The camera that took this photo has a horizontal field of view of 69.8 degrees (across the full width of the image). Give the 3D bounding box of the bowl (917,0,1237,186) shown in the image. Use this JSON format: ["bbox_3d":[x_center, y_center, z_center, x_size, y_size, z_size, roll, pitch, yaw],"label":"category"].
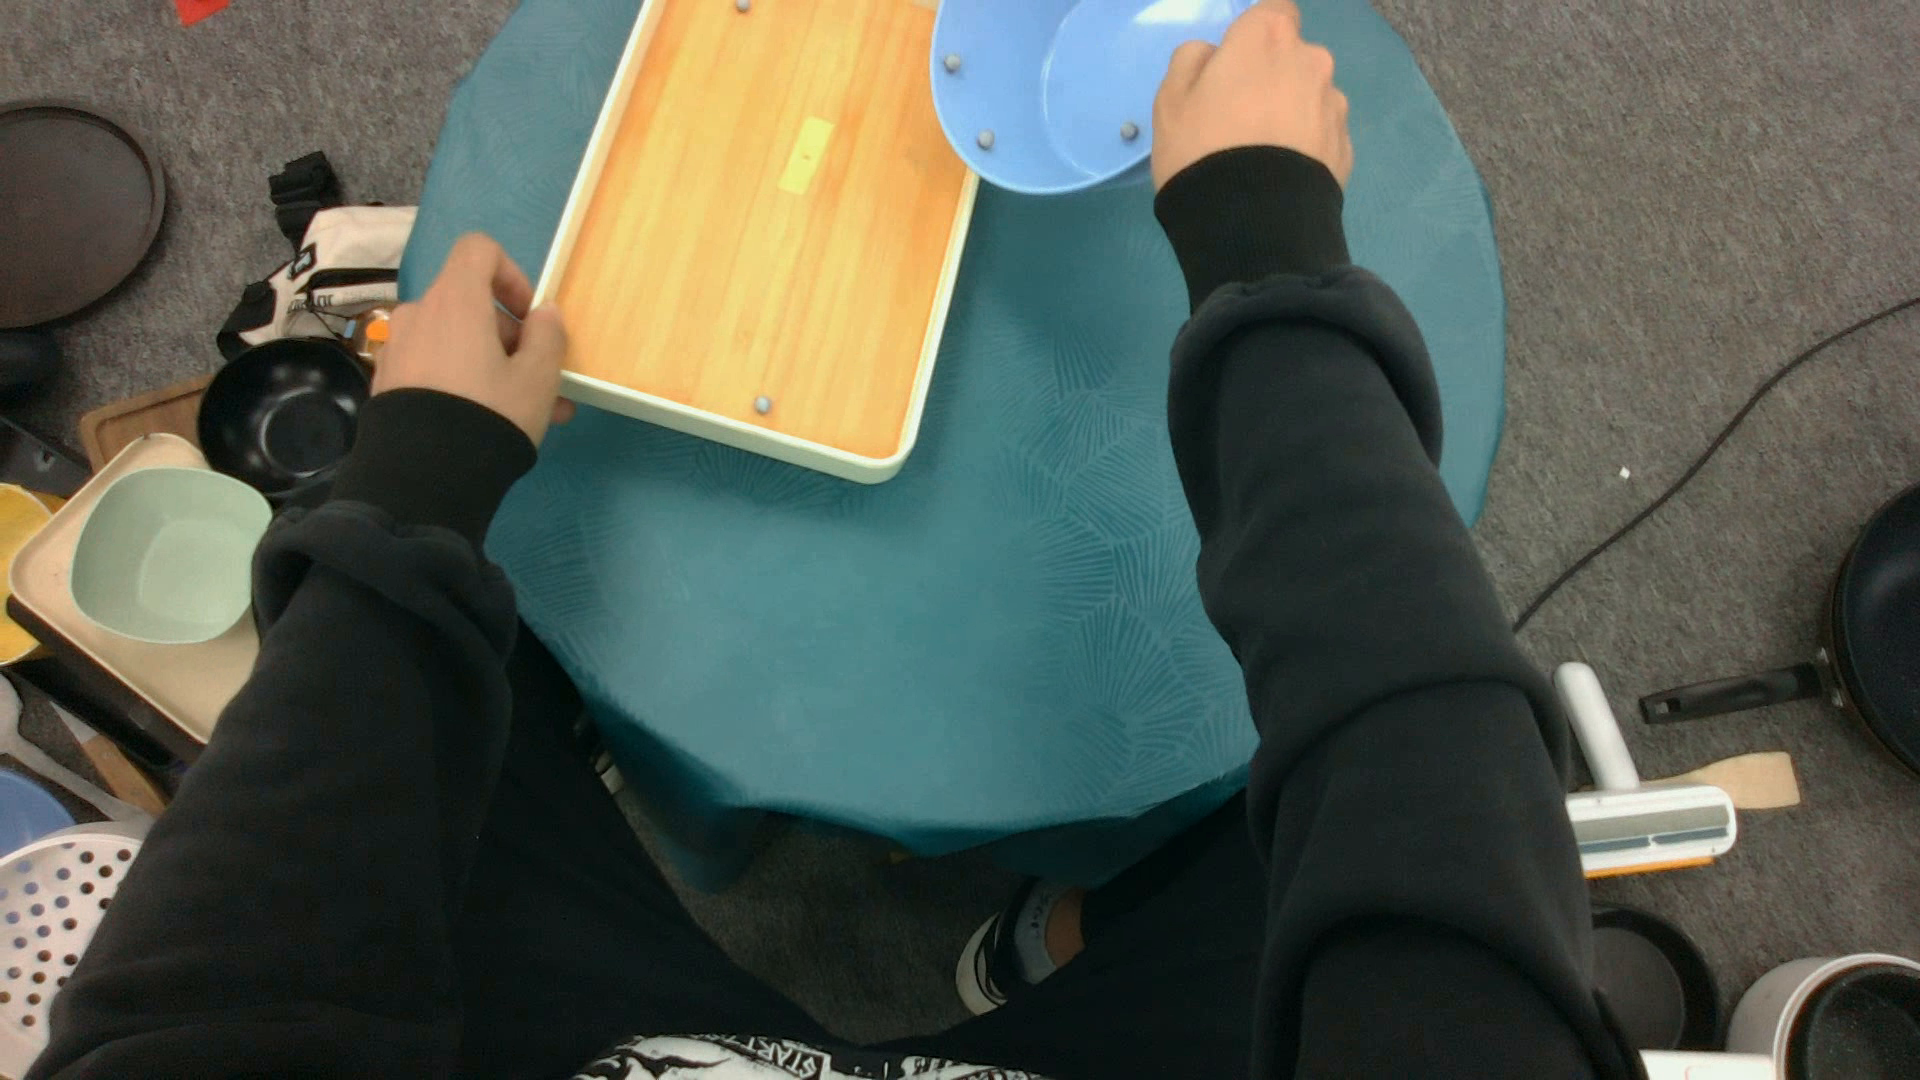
[{"bbox_3d":[0.067,-0.247,0.670,0.175,0.070,0.176,-9,75,37],"label":"bowl"}]

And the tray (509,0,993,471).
[{"bbox_3d":[-0.097,-0.192,0.717,0.191,0.027,0.301,16,66,-9],"label":"tray"}]
